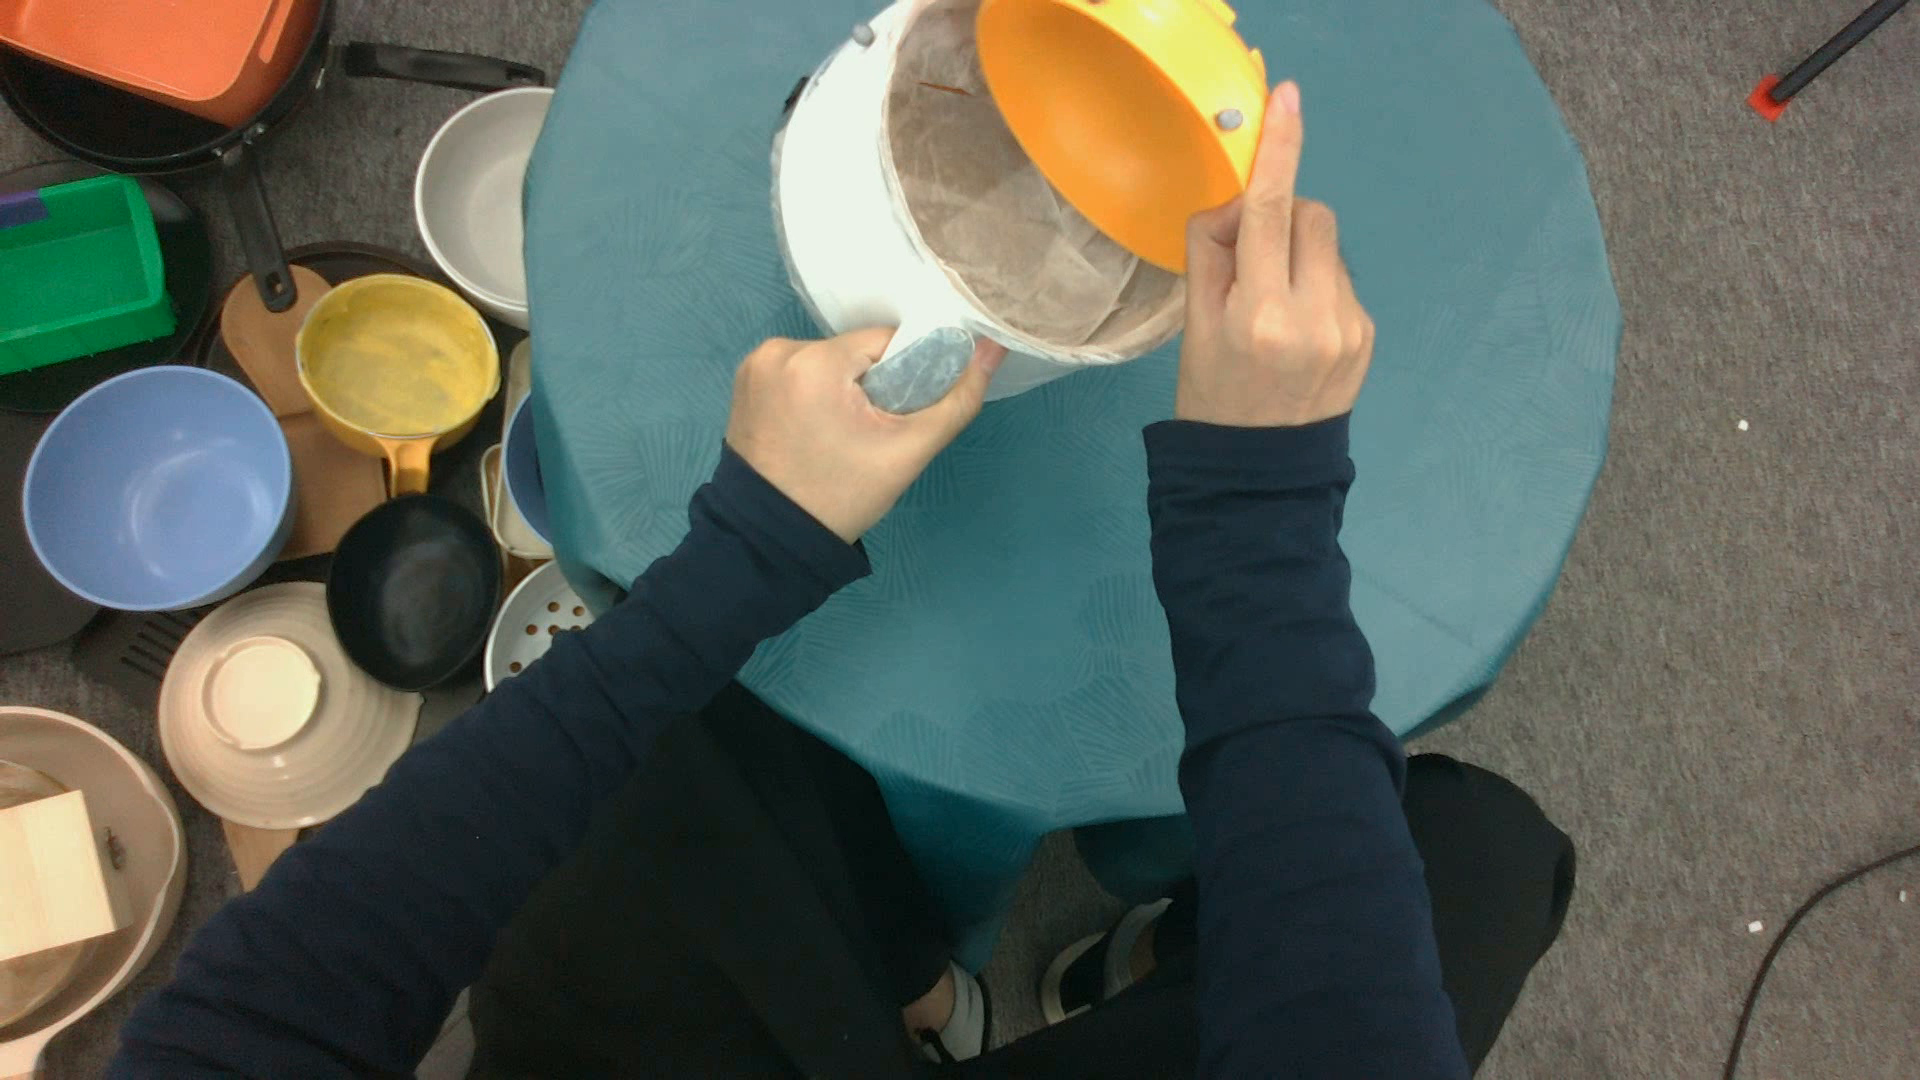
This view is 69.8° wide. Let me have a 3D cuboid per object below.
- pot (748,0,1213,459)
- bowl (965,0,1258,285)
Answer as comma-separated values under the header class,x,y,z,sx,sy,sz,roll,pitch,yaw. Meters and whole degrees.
class,x,y,z,sx,sy,sz,roll,pitch,yaw
pot,-0.005,-0.137,0.607,0.178,0.136,0.234,37,71,-23
bowl,0.072,-0.180,0.564,0.145,0.145,0.060,45,75,3
